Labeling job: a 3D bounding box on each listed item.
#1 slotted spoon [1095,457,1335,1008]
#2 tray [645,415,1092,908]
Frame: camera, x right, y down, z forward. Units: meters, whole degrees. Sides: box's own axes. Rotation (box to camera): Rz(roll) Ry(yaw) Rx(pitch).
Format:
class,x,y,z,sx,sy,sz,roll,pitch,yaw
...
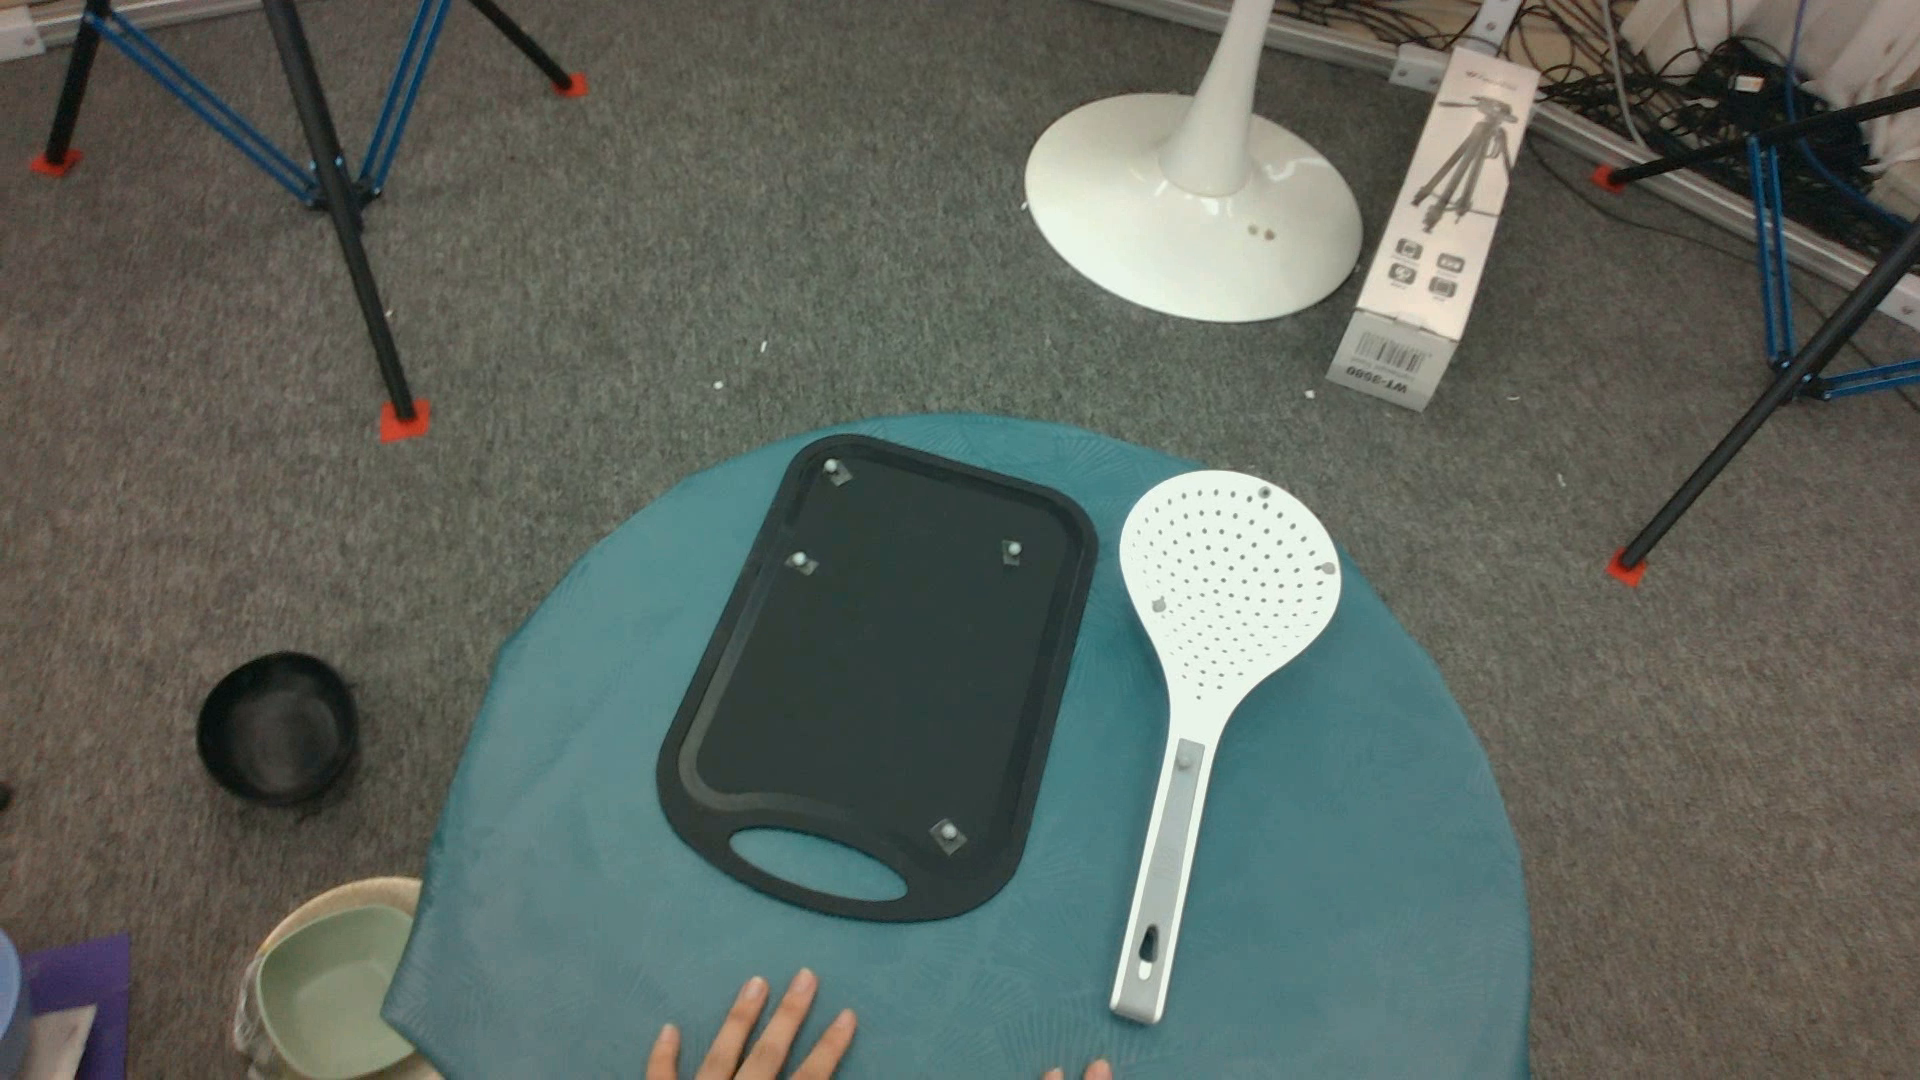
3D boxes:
class,x,y,z,sx,sy,sz,roll,pitch,yaw
slotted spoon,0.133,0.096,0.797,0.136,0.045,0.351,16,54,5
tray,-0.046,0.060,0.818,0.211,0.010,0.327,17,54,3
